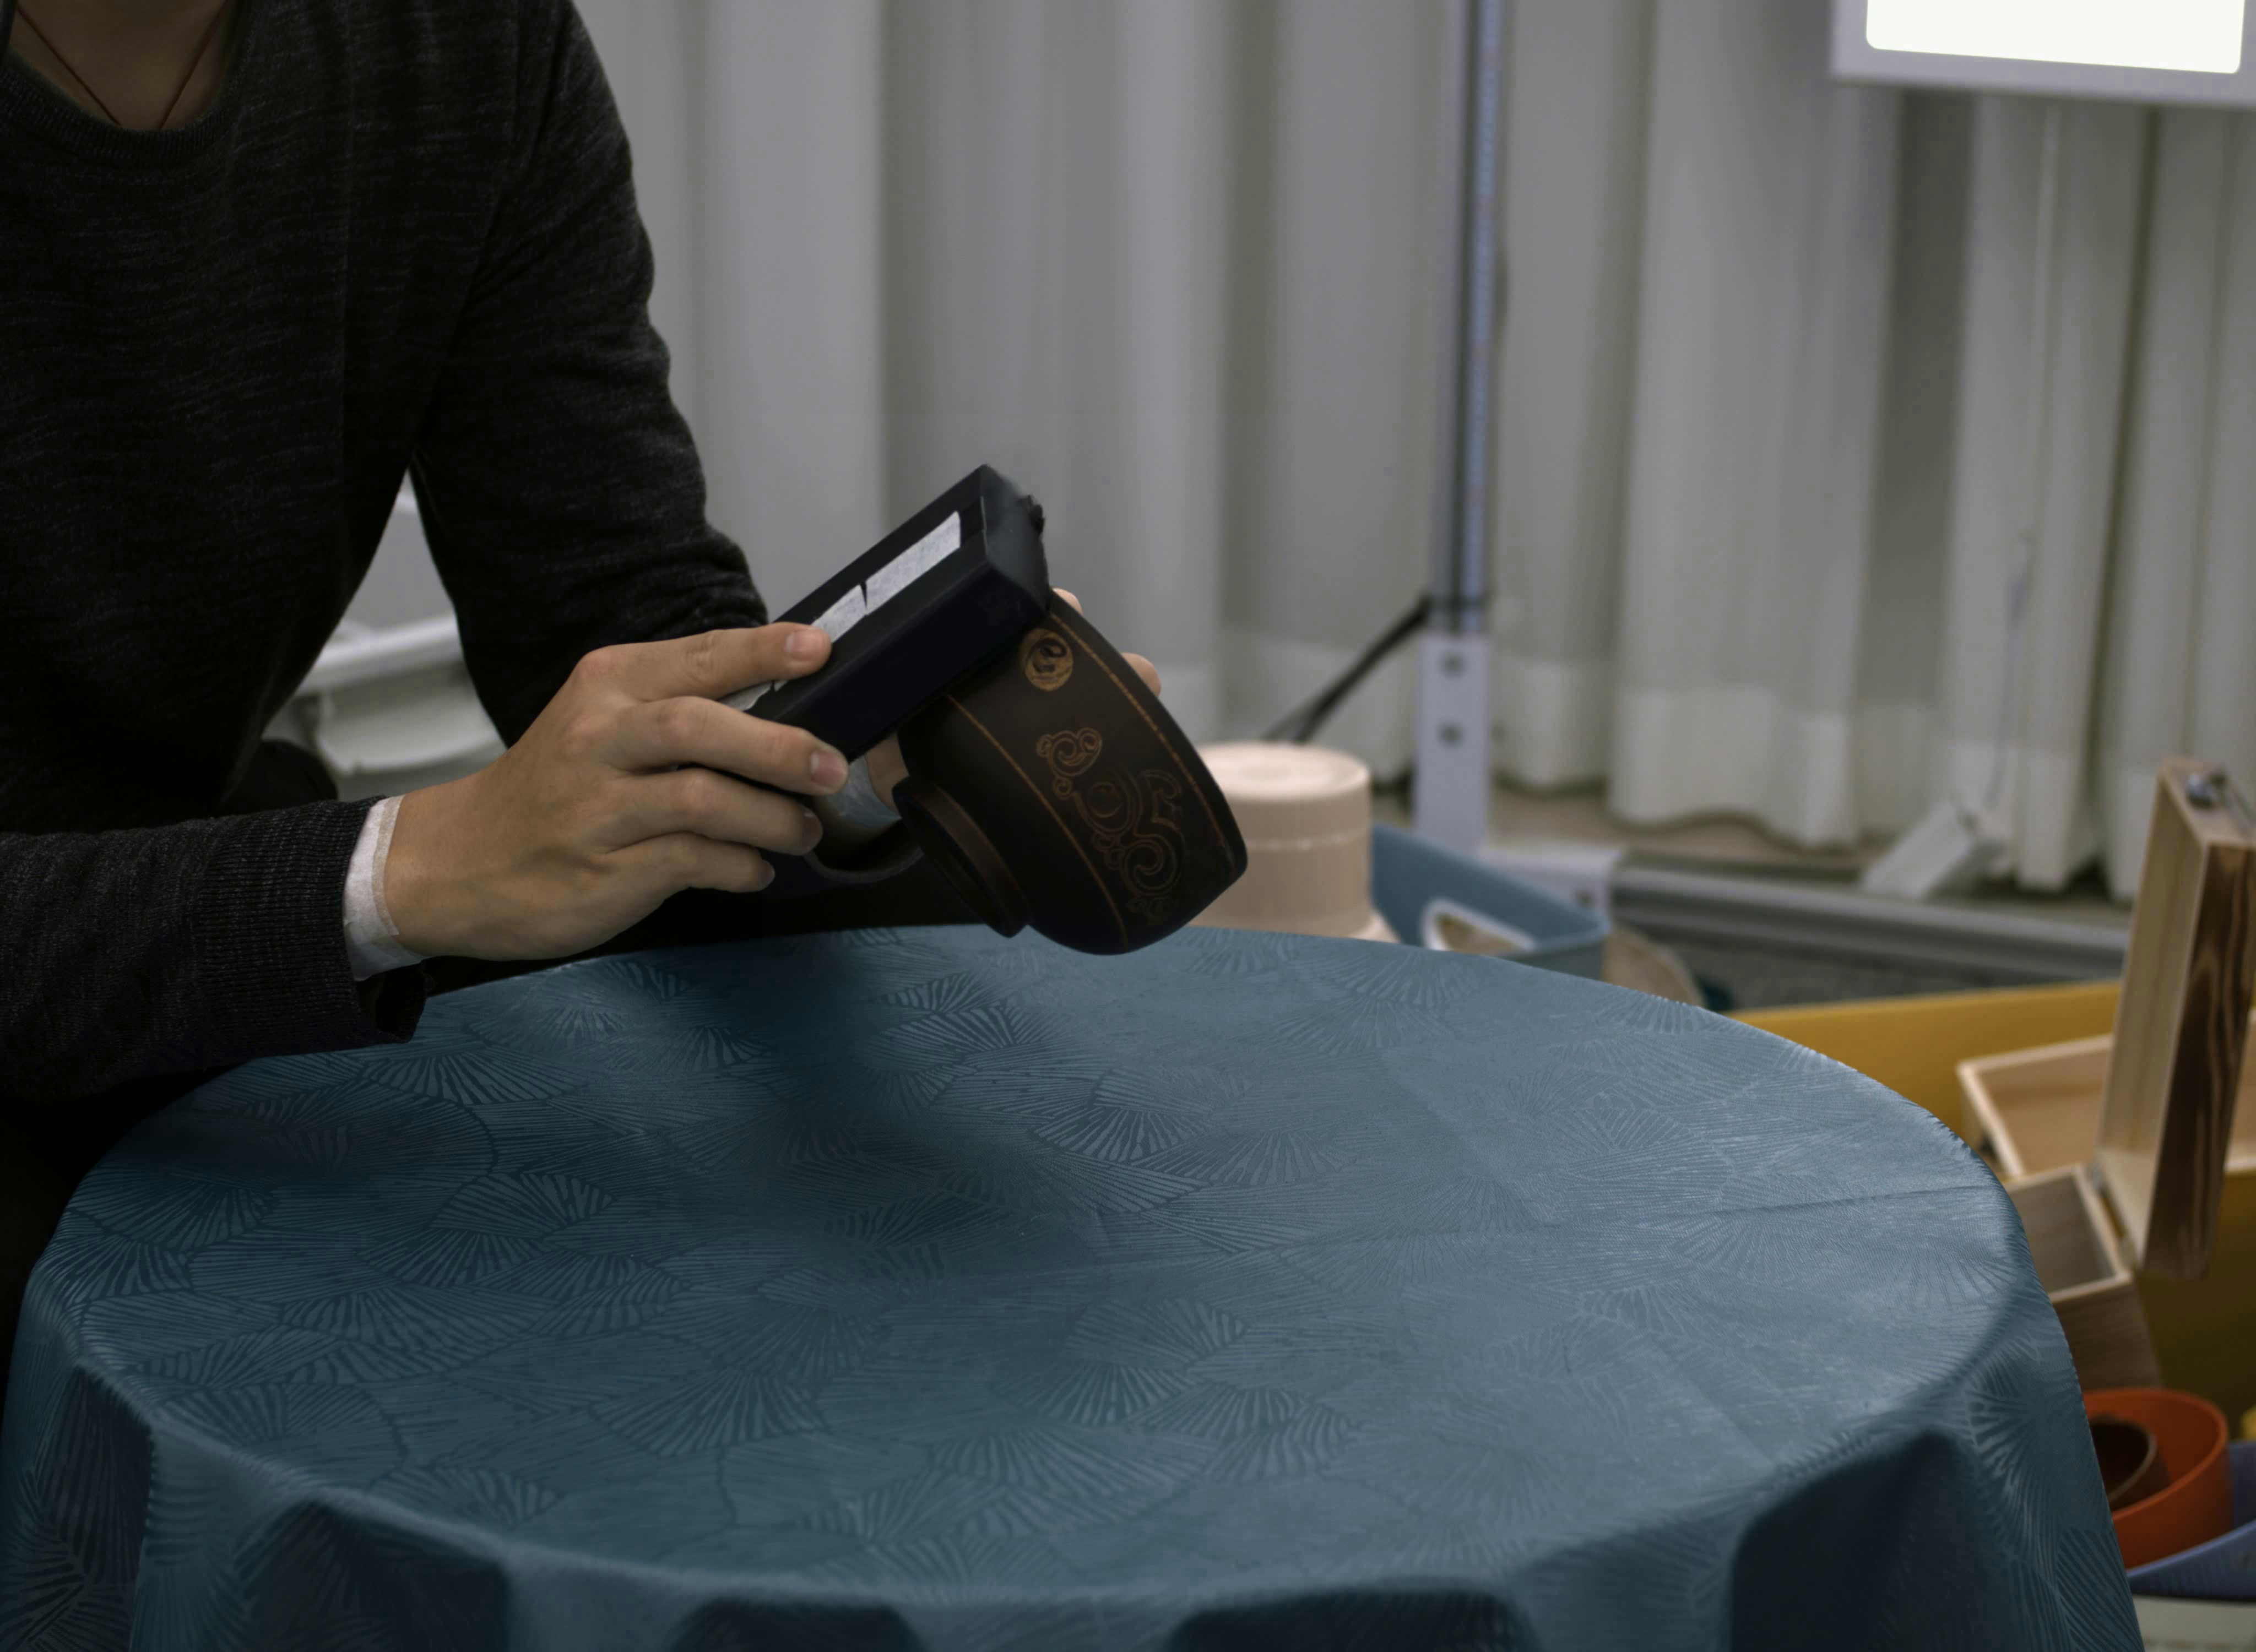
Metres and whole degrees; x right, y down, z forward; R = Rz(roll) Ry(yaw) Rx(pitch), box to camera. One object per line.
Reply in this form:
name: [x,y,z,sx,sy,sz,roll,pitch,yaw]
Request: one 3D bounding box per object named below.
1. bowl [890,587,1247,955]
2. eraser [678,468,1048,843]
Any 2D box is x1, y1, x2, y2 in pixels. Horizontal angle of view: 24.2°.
bowl: [-0.027,-0.010,1.559,0.070,0.119,0.116,-40,28,-10]
eraser: [-0.078,-0.050,1.533,0.125,0.031,0.053,-37,31,19]
